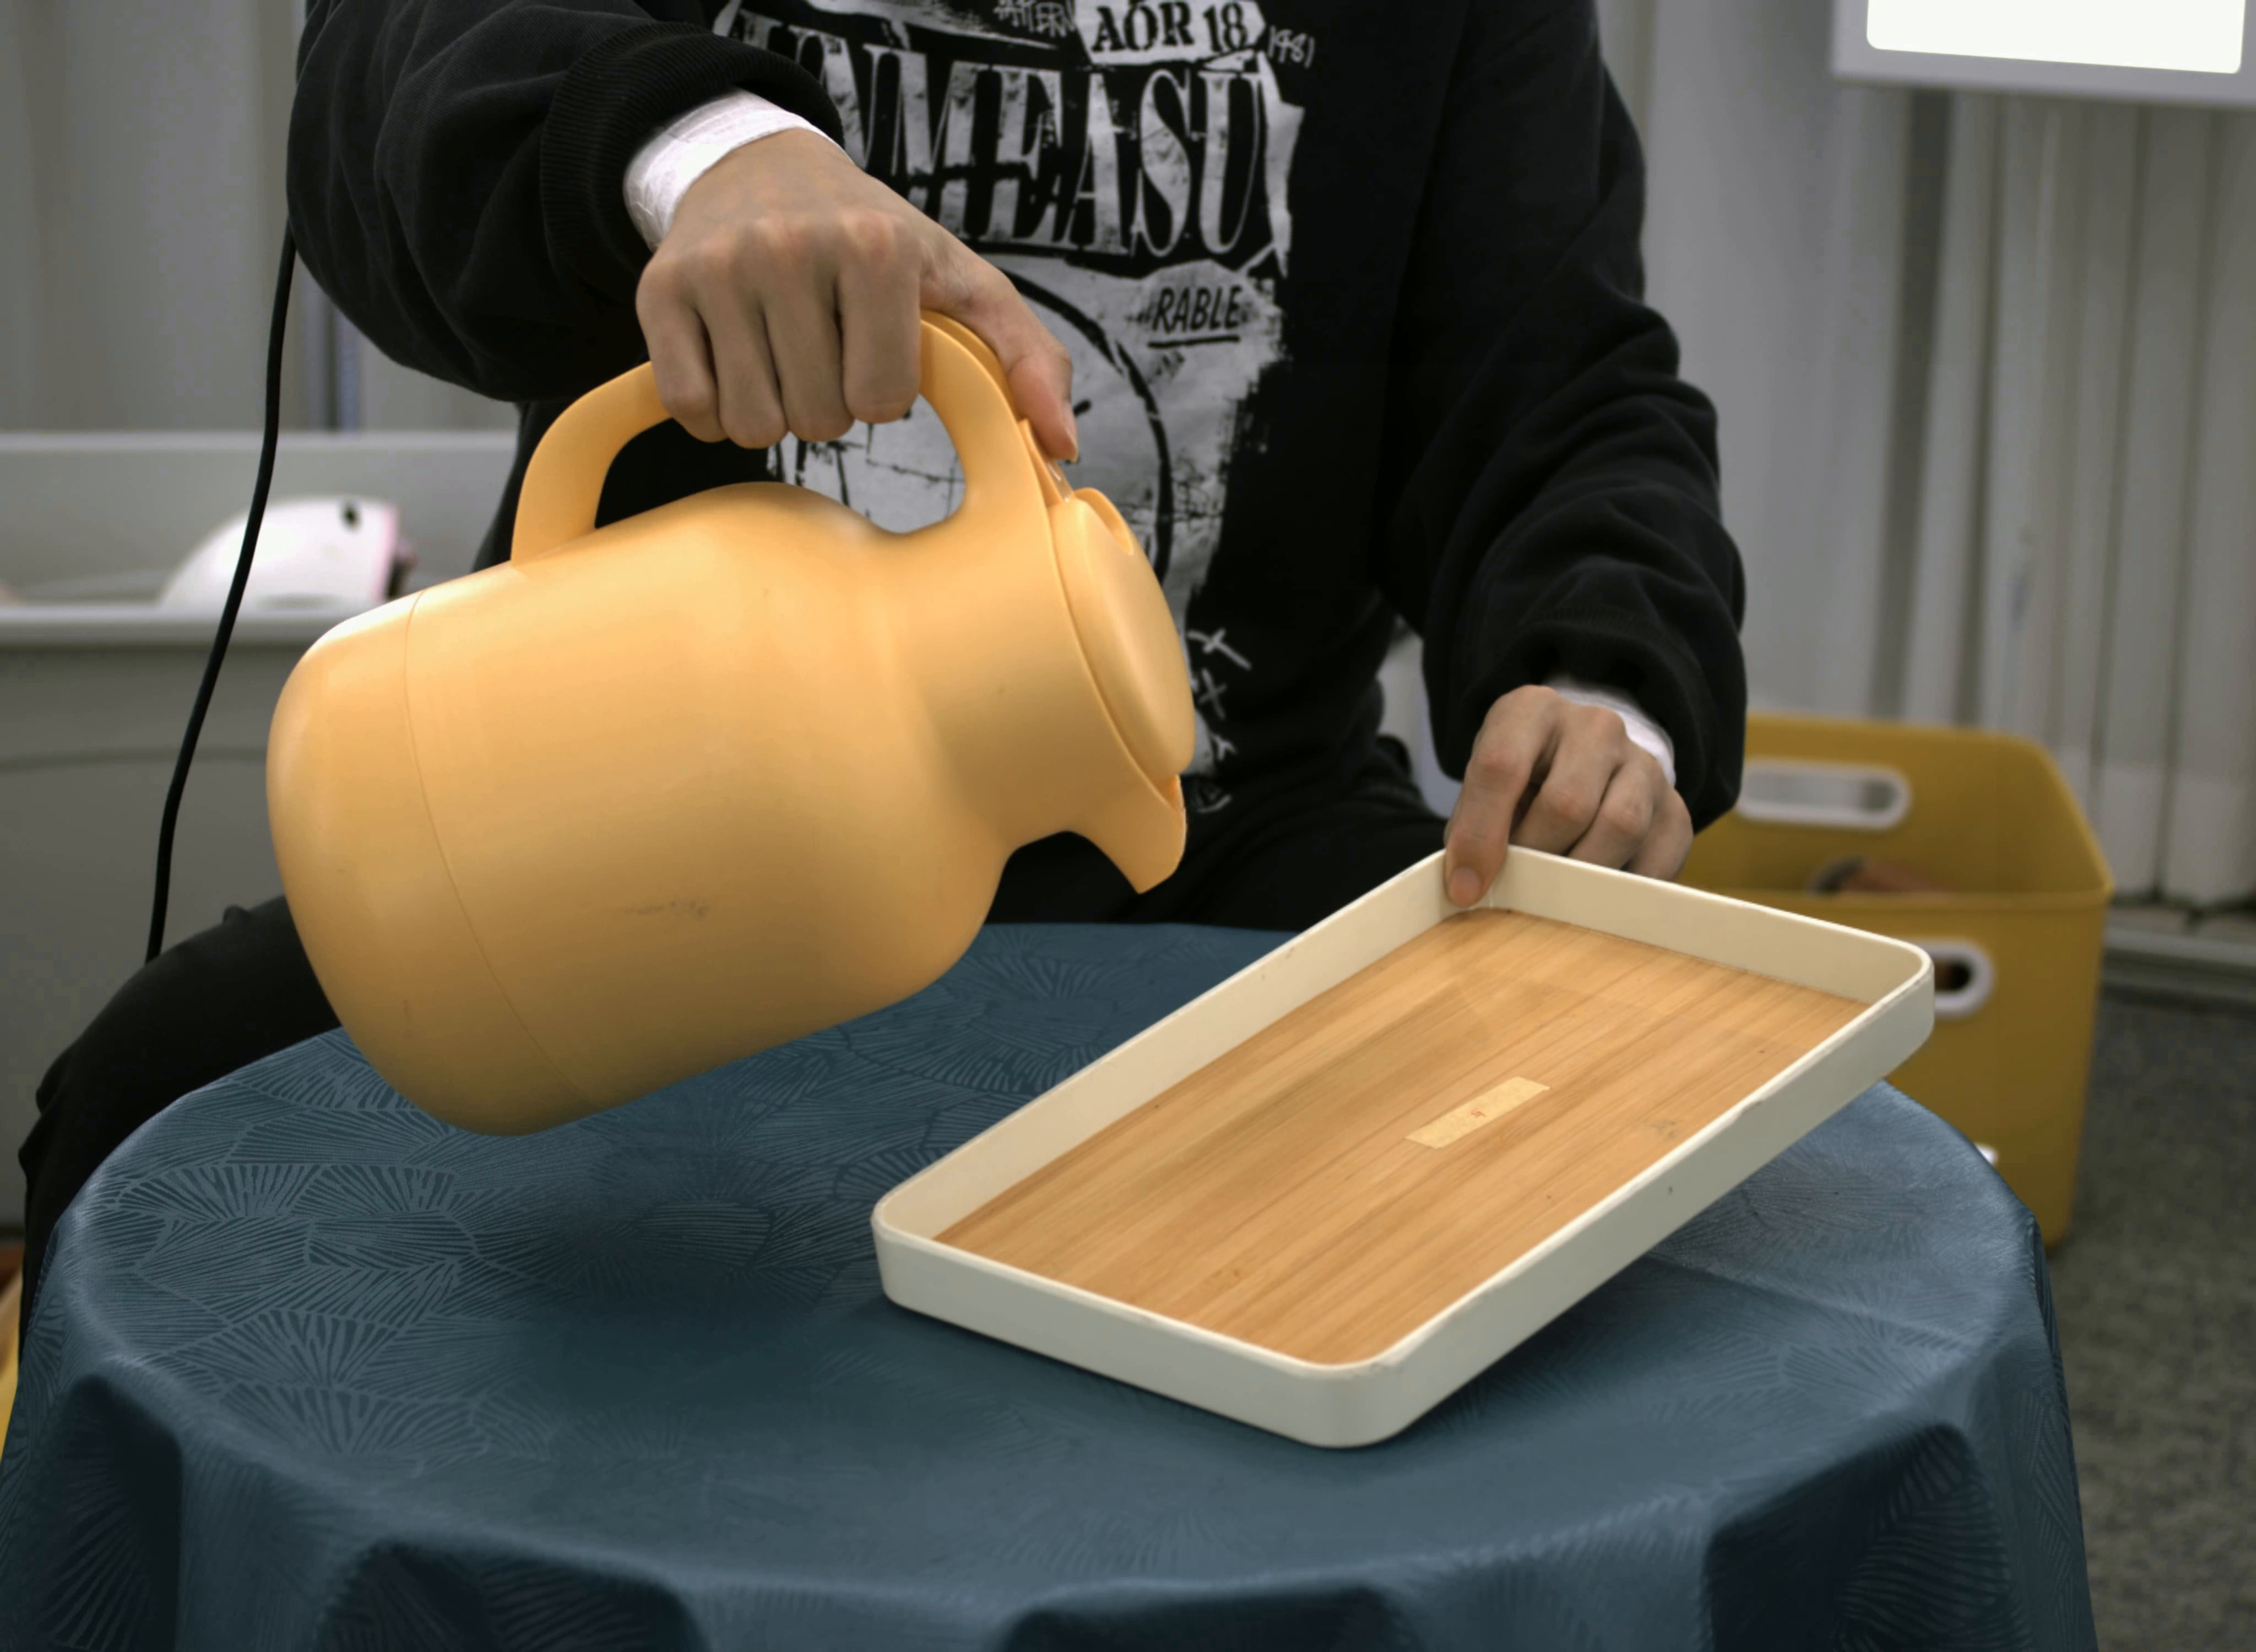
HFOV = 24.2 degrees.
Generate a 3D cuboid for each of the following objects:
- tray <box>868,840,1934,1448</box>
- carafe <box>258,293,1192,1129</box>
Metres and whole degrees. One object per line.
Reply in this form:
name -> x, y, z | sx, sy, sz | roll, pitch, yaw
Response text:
tray -> 0.086, 0.087, 1.565 | 0.189, 0.028, 0.301 | 15, 31, 38
carafe -> -0.118, -0.038, 1.531 | 0.259, 0.203, 0.163 | -18, 6, 9
